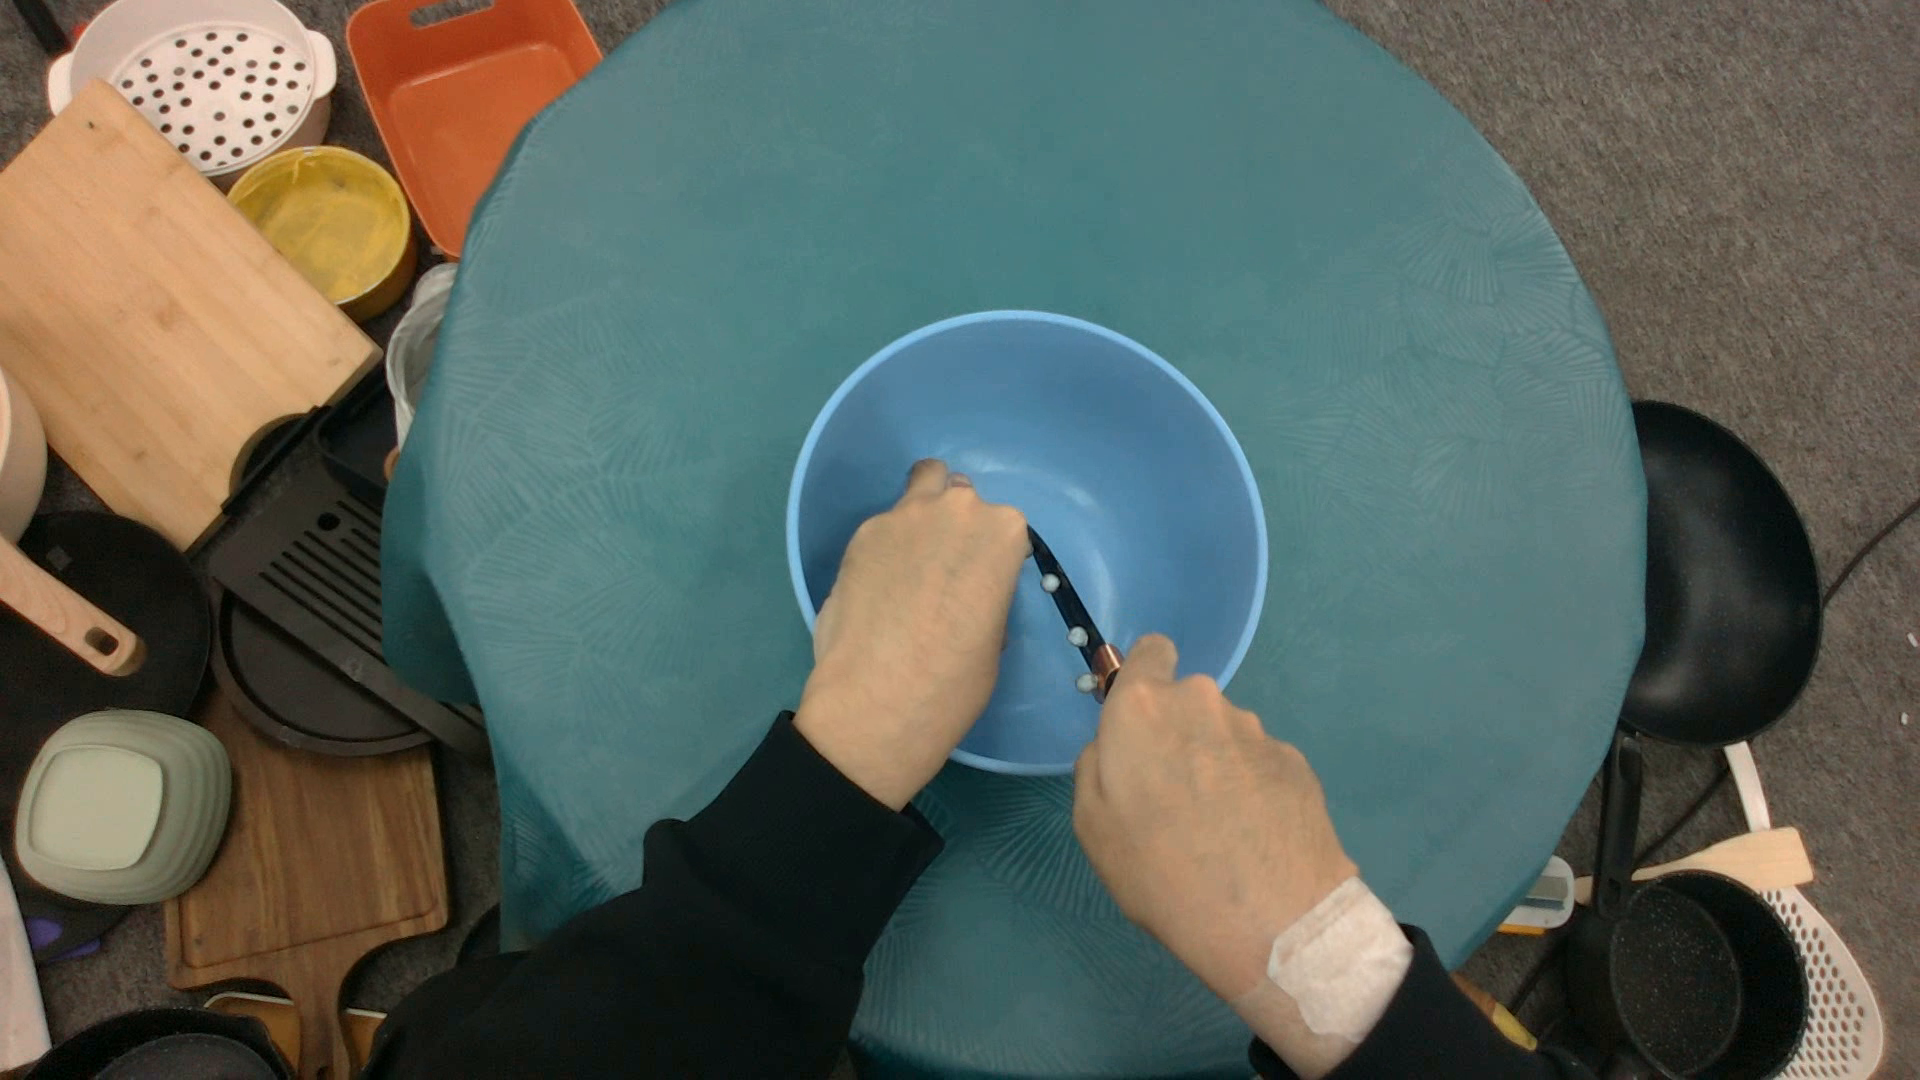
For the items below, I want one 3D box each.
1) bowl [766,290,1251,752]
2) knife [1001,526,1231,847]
[{"bbox_3d":[0.015,0.002,0.589,0.196,0.095,0.197,3,69,-8],"label":"bowl"},{"bbox_3d":[0.052,0.044,0.546,0.017,0.026,0.226,-14,33,-11],"label":"knife"}]
